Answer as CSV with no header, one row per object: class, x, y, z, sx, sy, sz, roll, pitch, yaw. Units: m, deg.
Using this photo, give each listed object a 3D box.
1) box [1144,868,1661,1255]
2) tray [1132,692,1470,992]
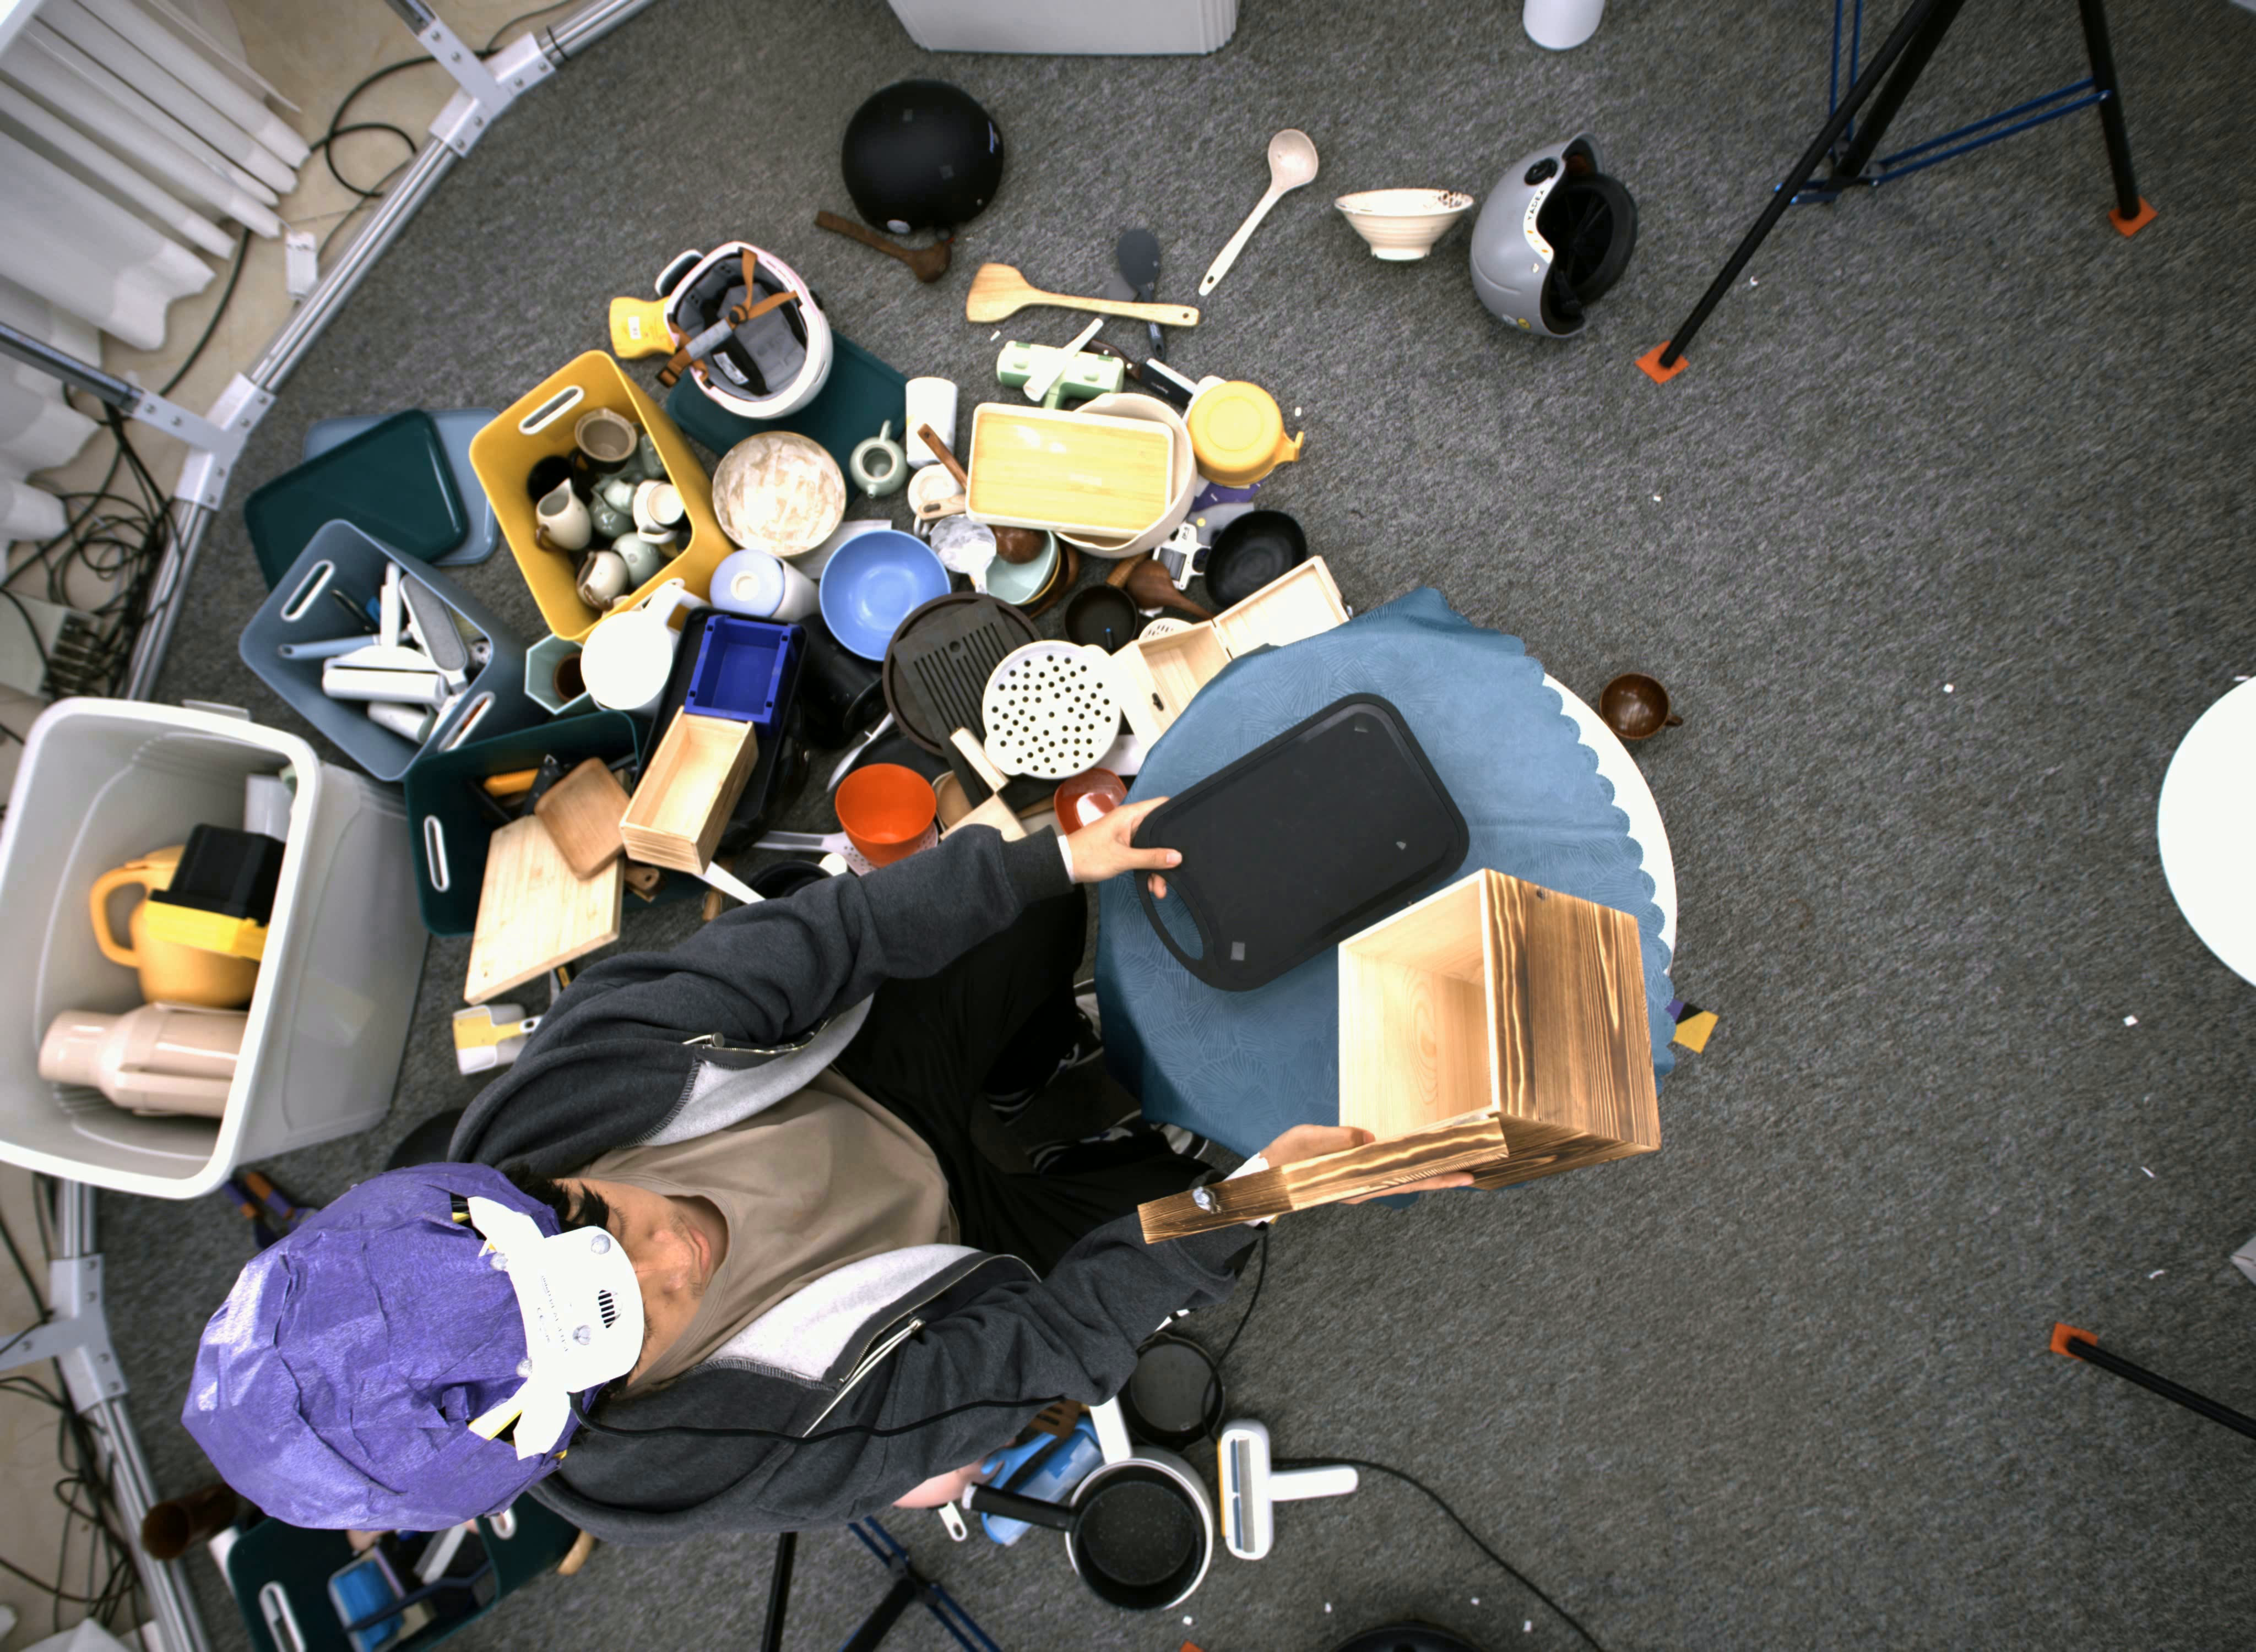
box,0.223,0.200,1.115,0.376,0.213,0.315,16,62,-25
tray,0.167,0.021,1.388,0.327,0.010,0.211,-31,89,5
